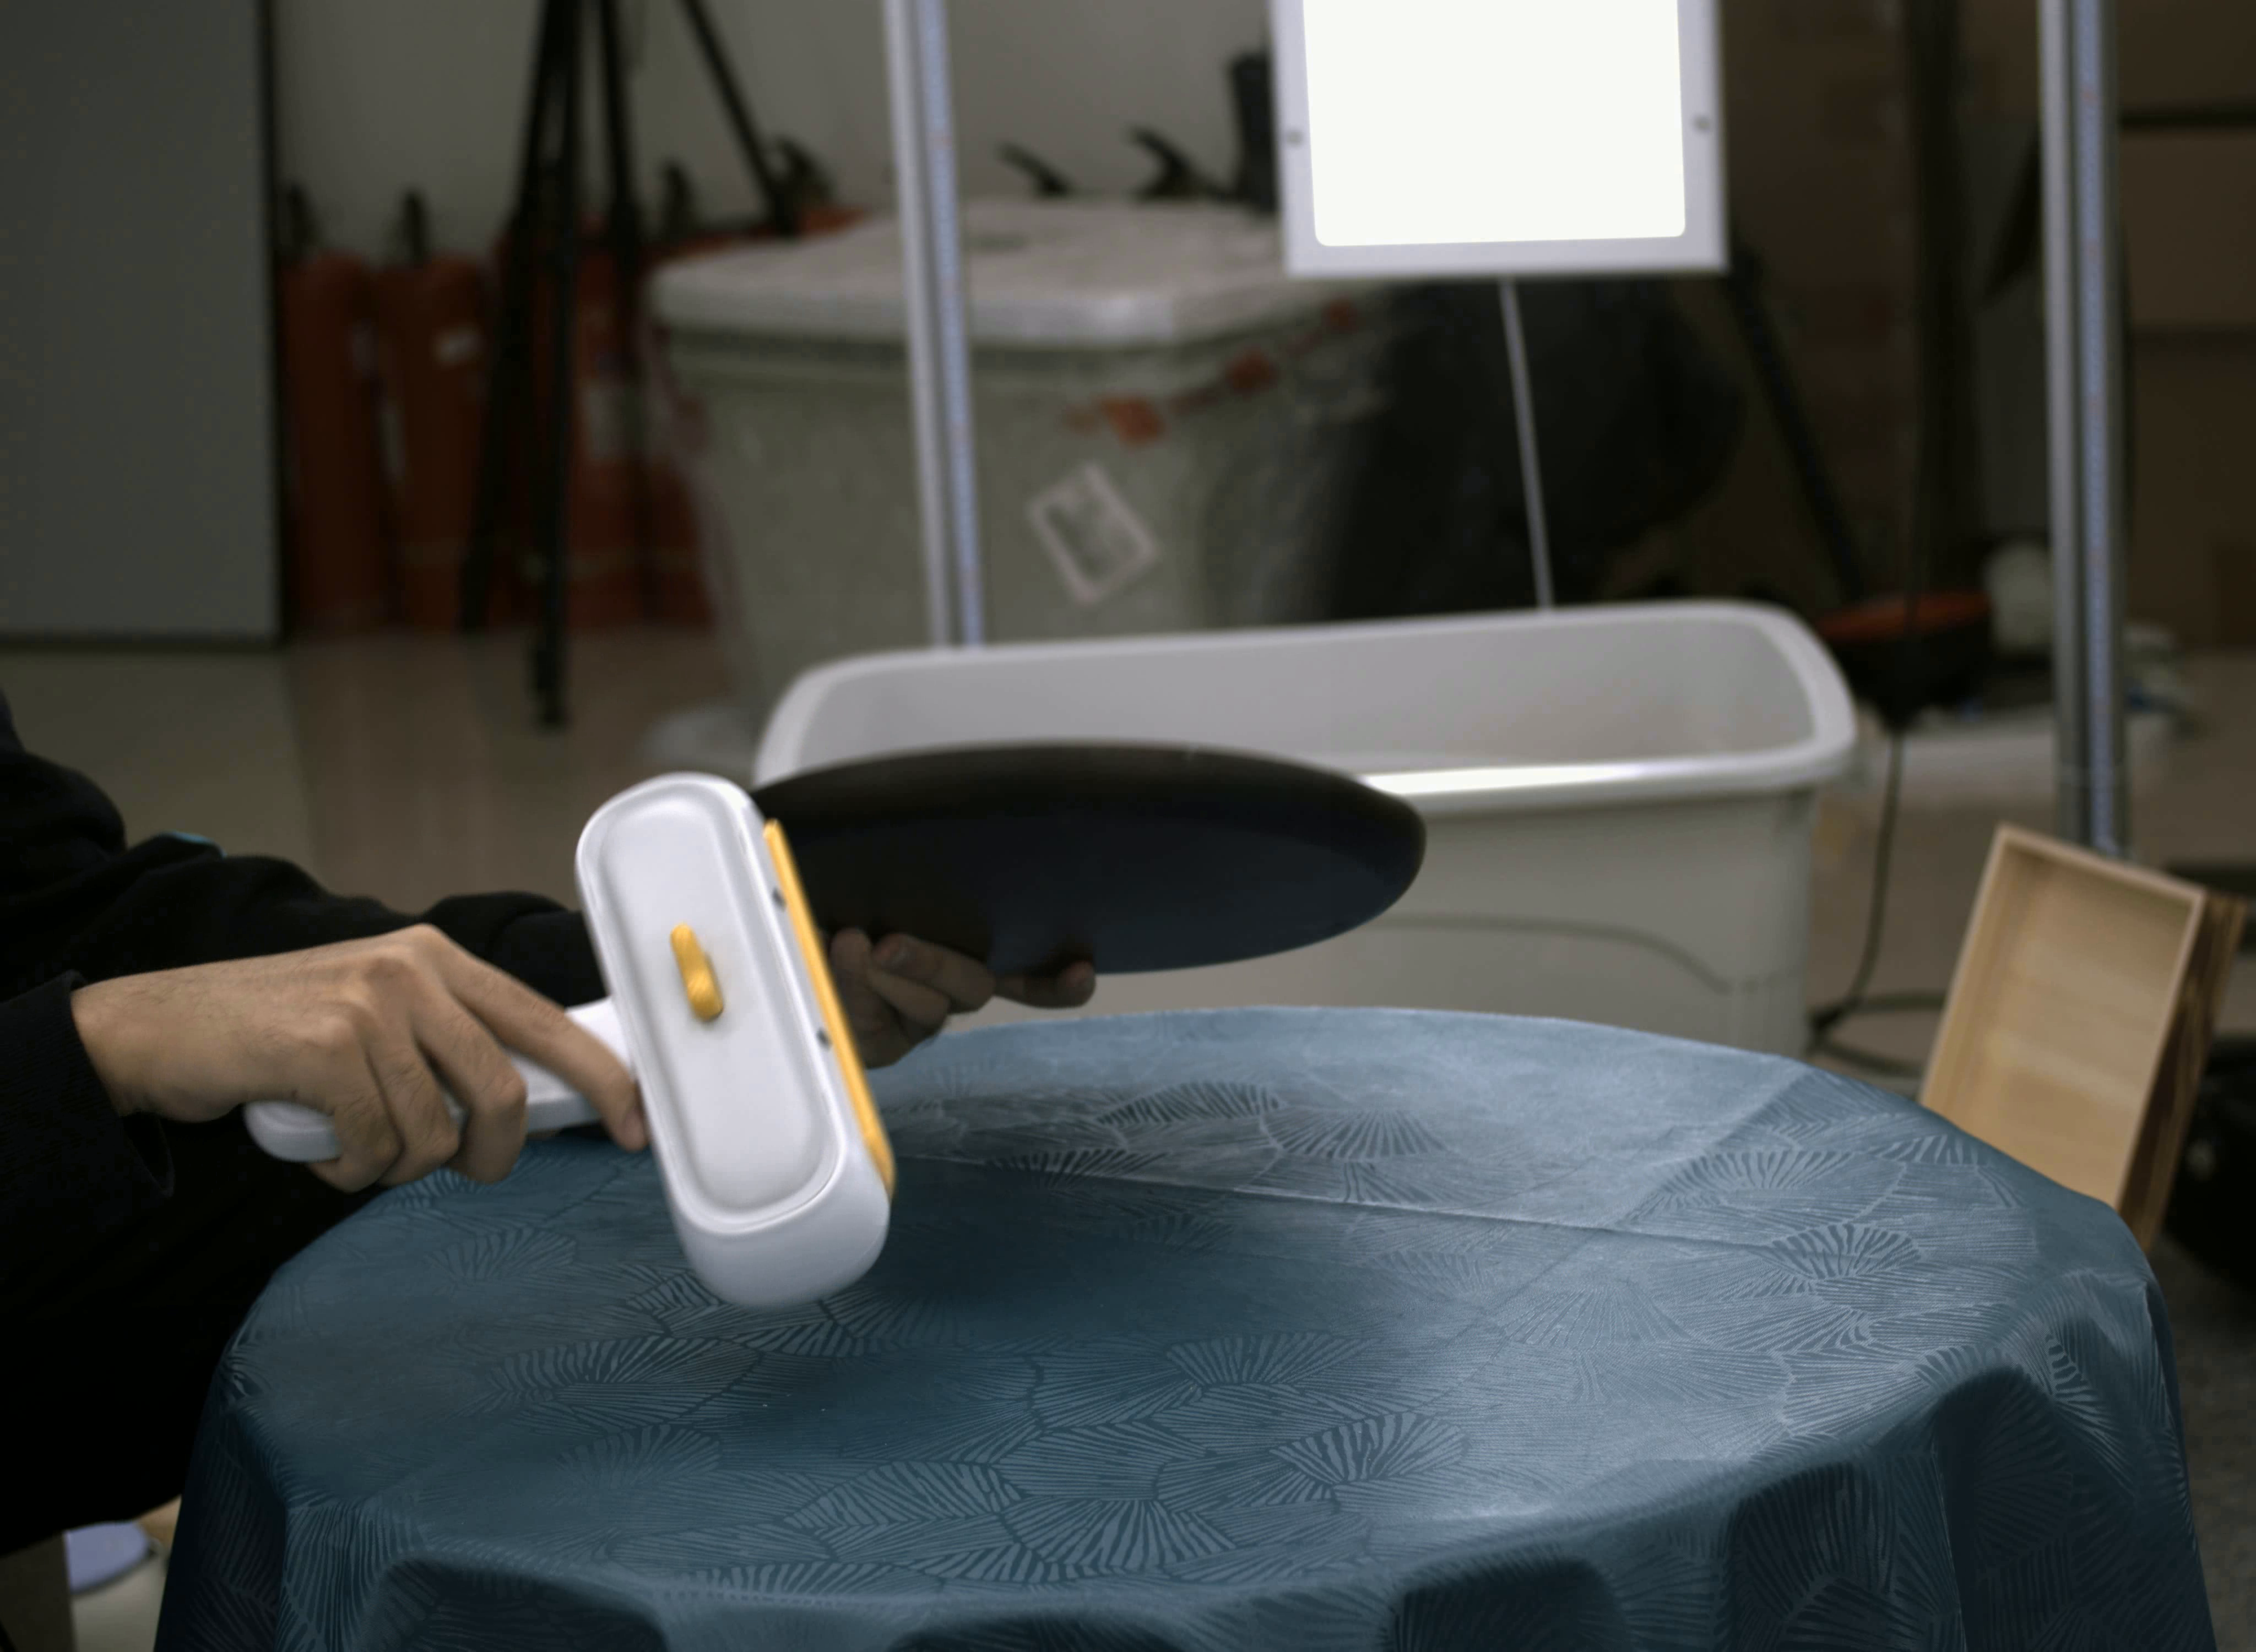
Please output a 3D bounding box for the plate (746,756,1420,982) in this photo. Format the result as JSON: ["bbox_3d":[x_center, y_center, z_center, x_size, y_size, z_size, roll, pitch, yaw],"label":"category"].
[{"bbox_3d":[-0.025,0.017,1.894,0.254,0.029,0.255,-1,-15,-2],"label":"plate"}]

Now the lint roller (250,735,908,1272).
[{"bbox_3d":[-0.182,0.071,1.745,0.191,0.074,0.194,-20,60,-6],"label":"lint roller"}]
